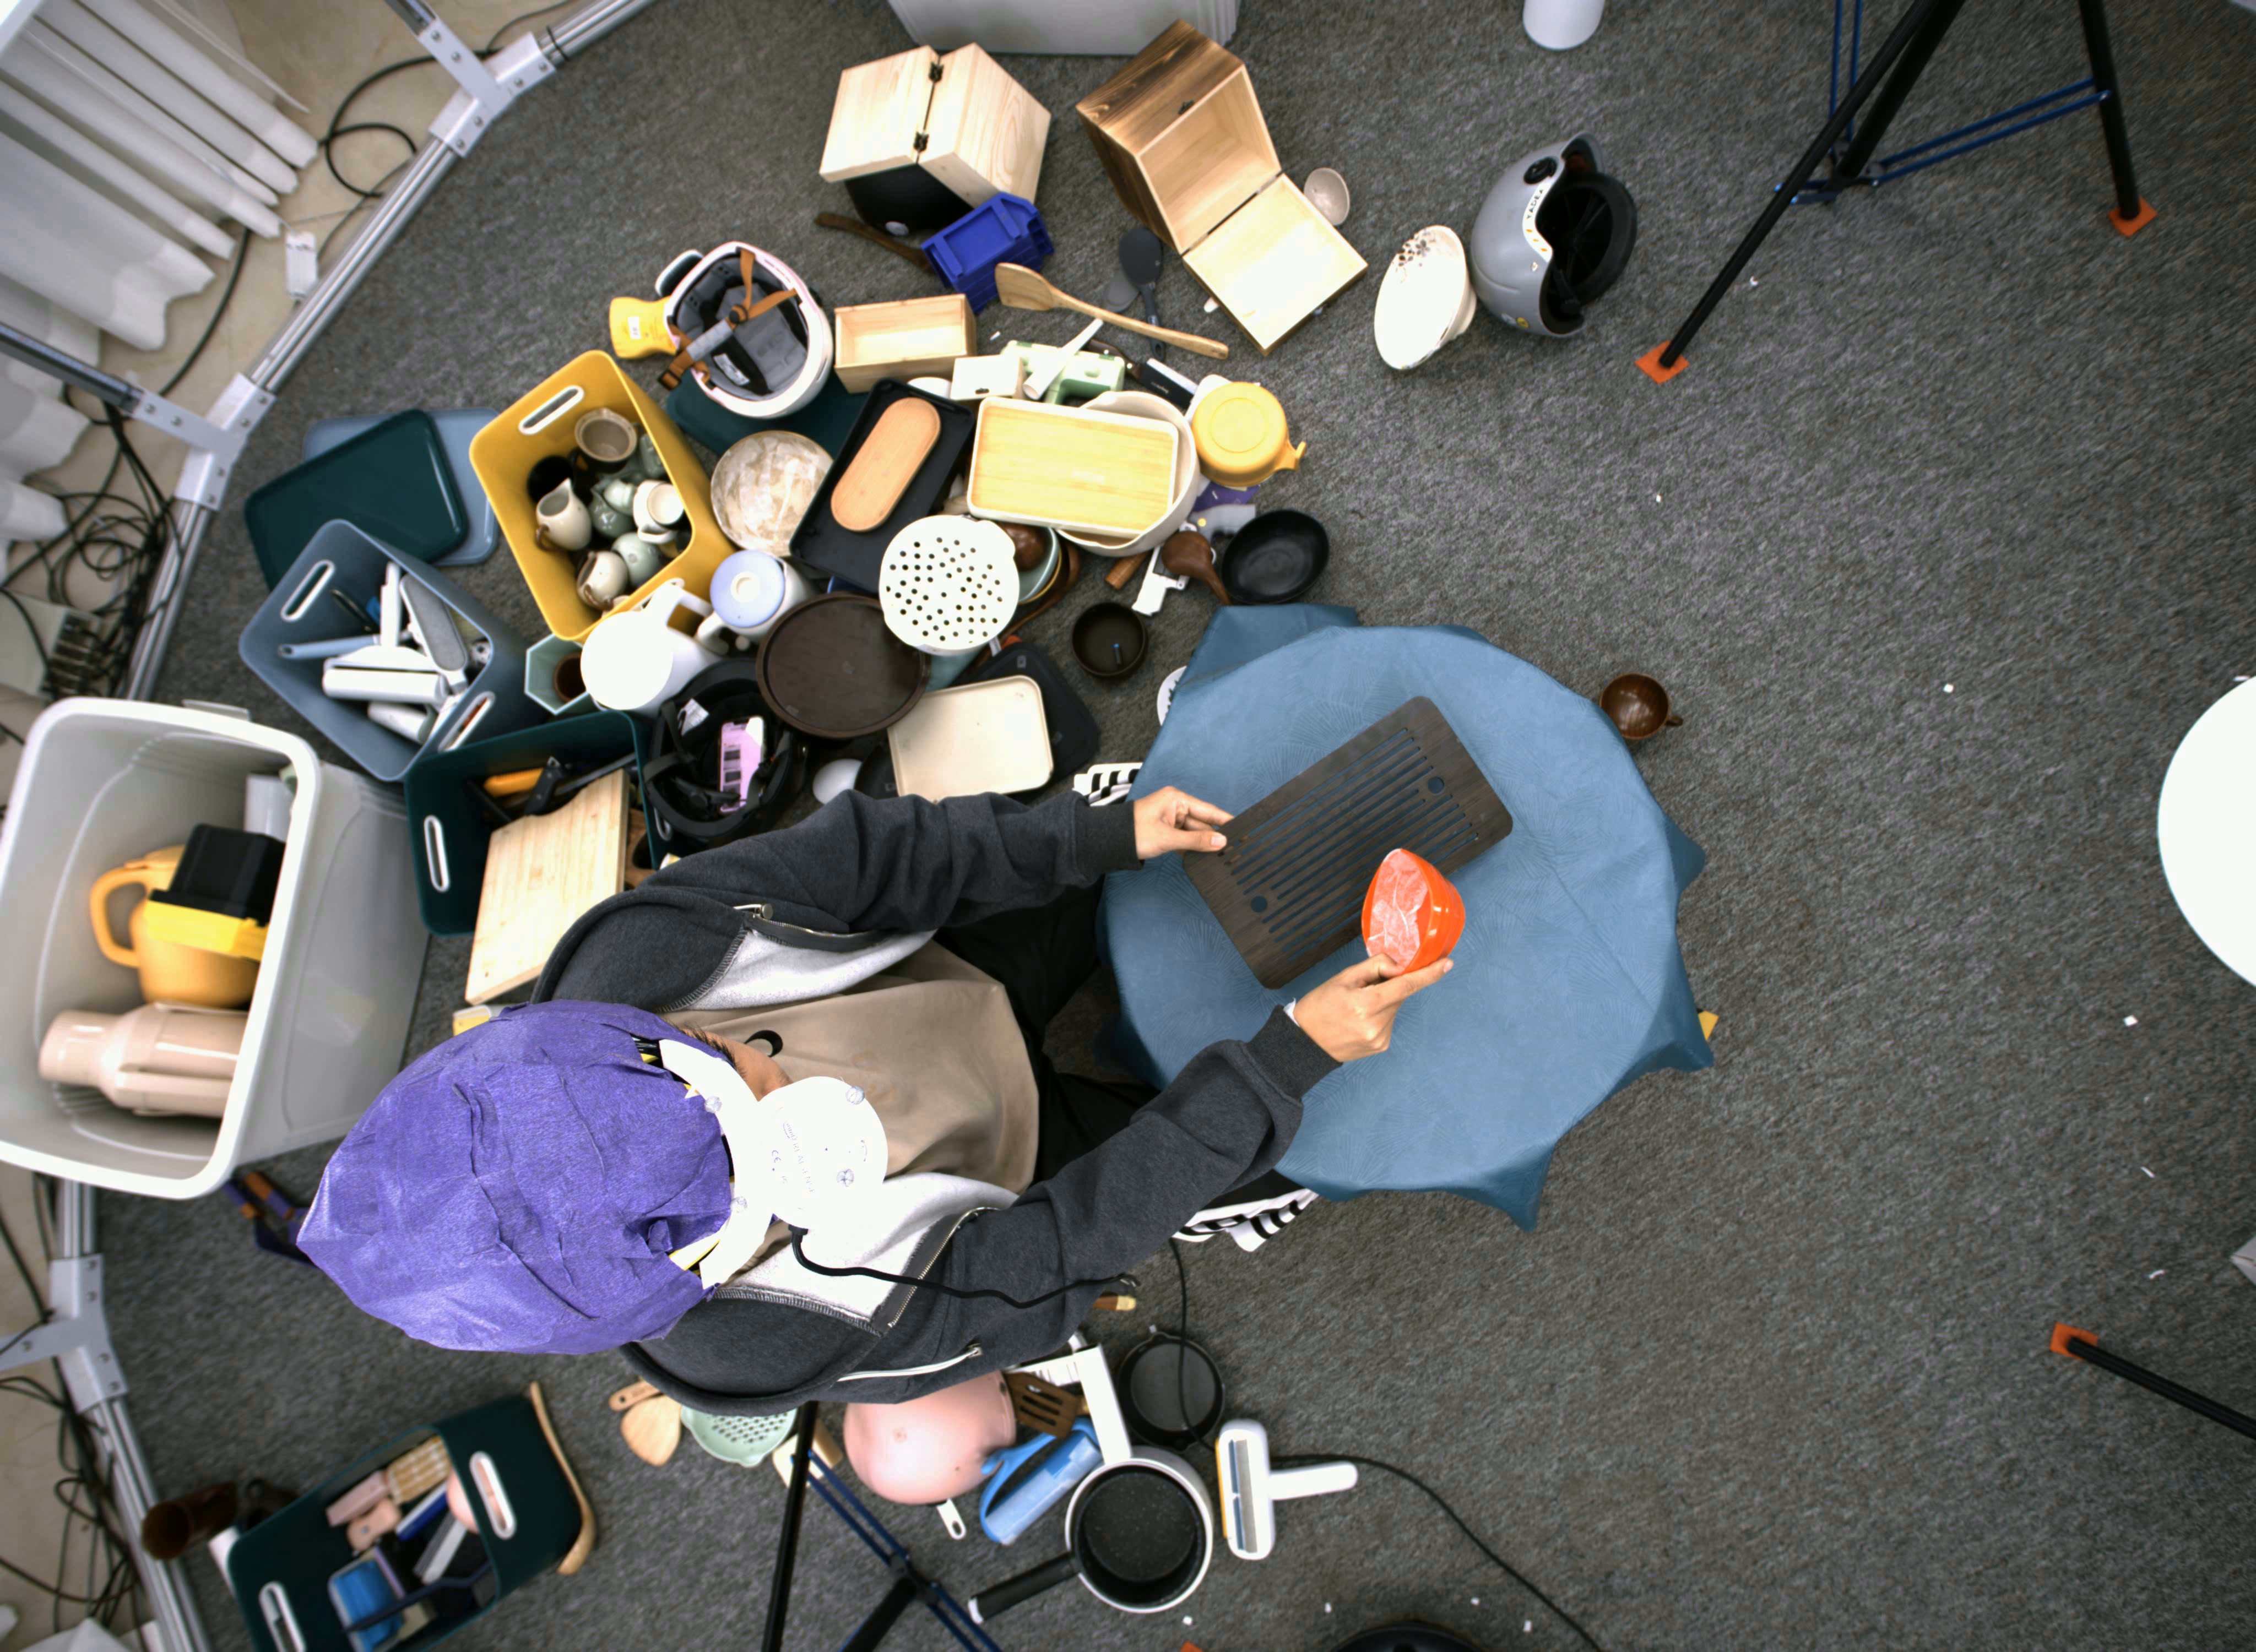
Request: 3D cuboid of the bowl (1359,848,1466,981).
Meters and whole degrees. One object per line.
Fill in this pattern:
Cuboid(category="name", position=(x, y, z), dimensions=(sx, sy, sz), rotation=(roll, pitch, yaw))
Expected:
Cuboid(category="bowl", position=(0.260, 0.080, 1.242), dimensions=(0.051, 0.119, 0.118), rotation=(6, 86, -22))

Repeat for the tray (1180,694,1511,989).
Cuboid(category="tray", position=(0.219, 0.015, 1.399), dimensions=(0.307, 0.018, 0.170), rotation=(-34, 89, 4))
